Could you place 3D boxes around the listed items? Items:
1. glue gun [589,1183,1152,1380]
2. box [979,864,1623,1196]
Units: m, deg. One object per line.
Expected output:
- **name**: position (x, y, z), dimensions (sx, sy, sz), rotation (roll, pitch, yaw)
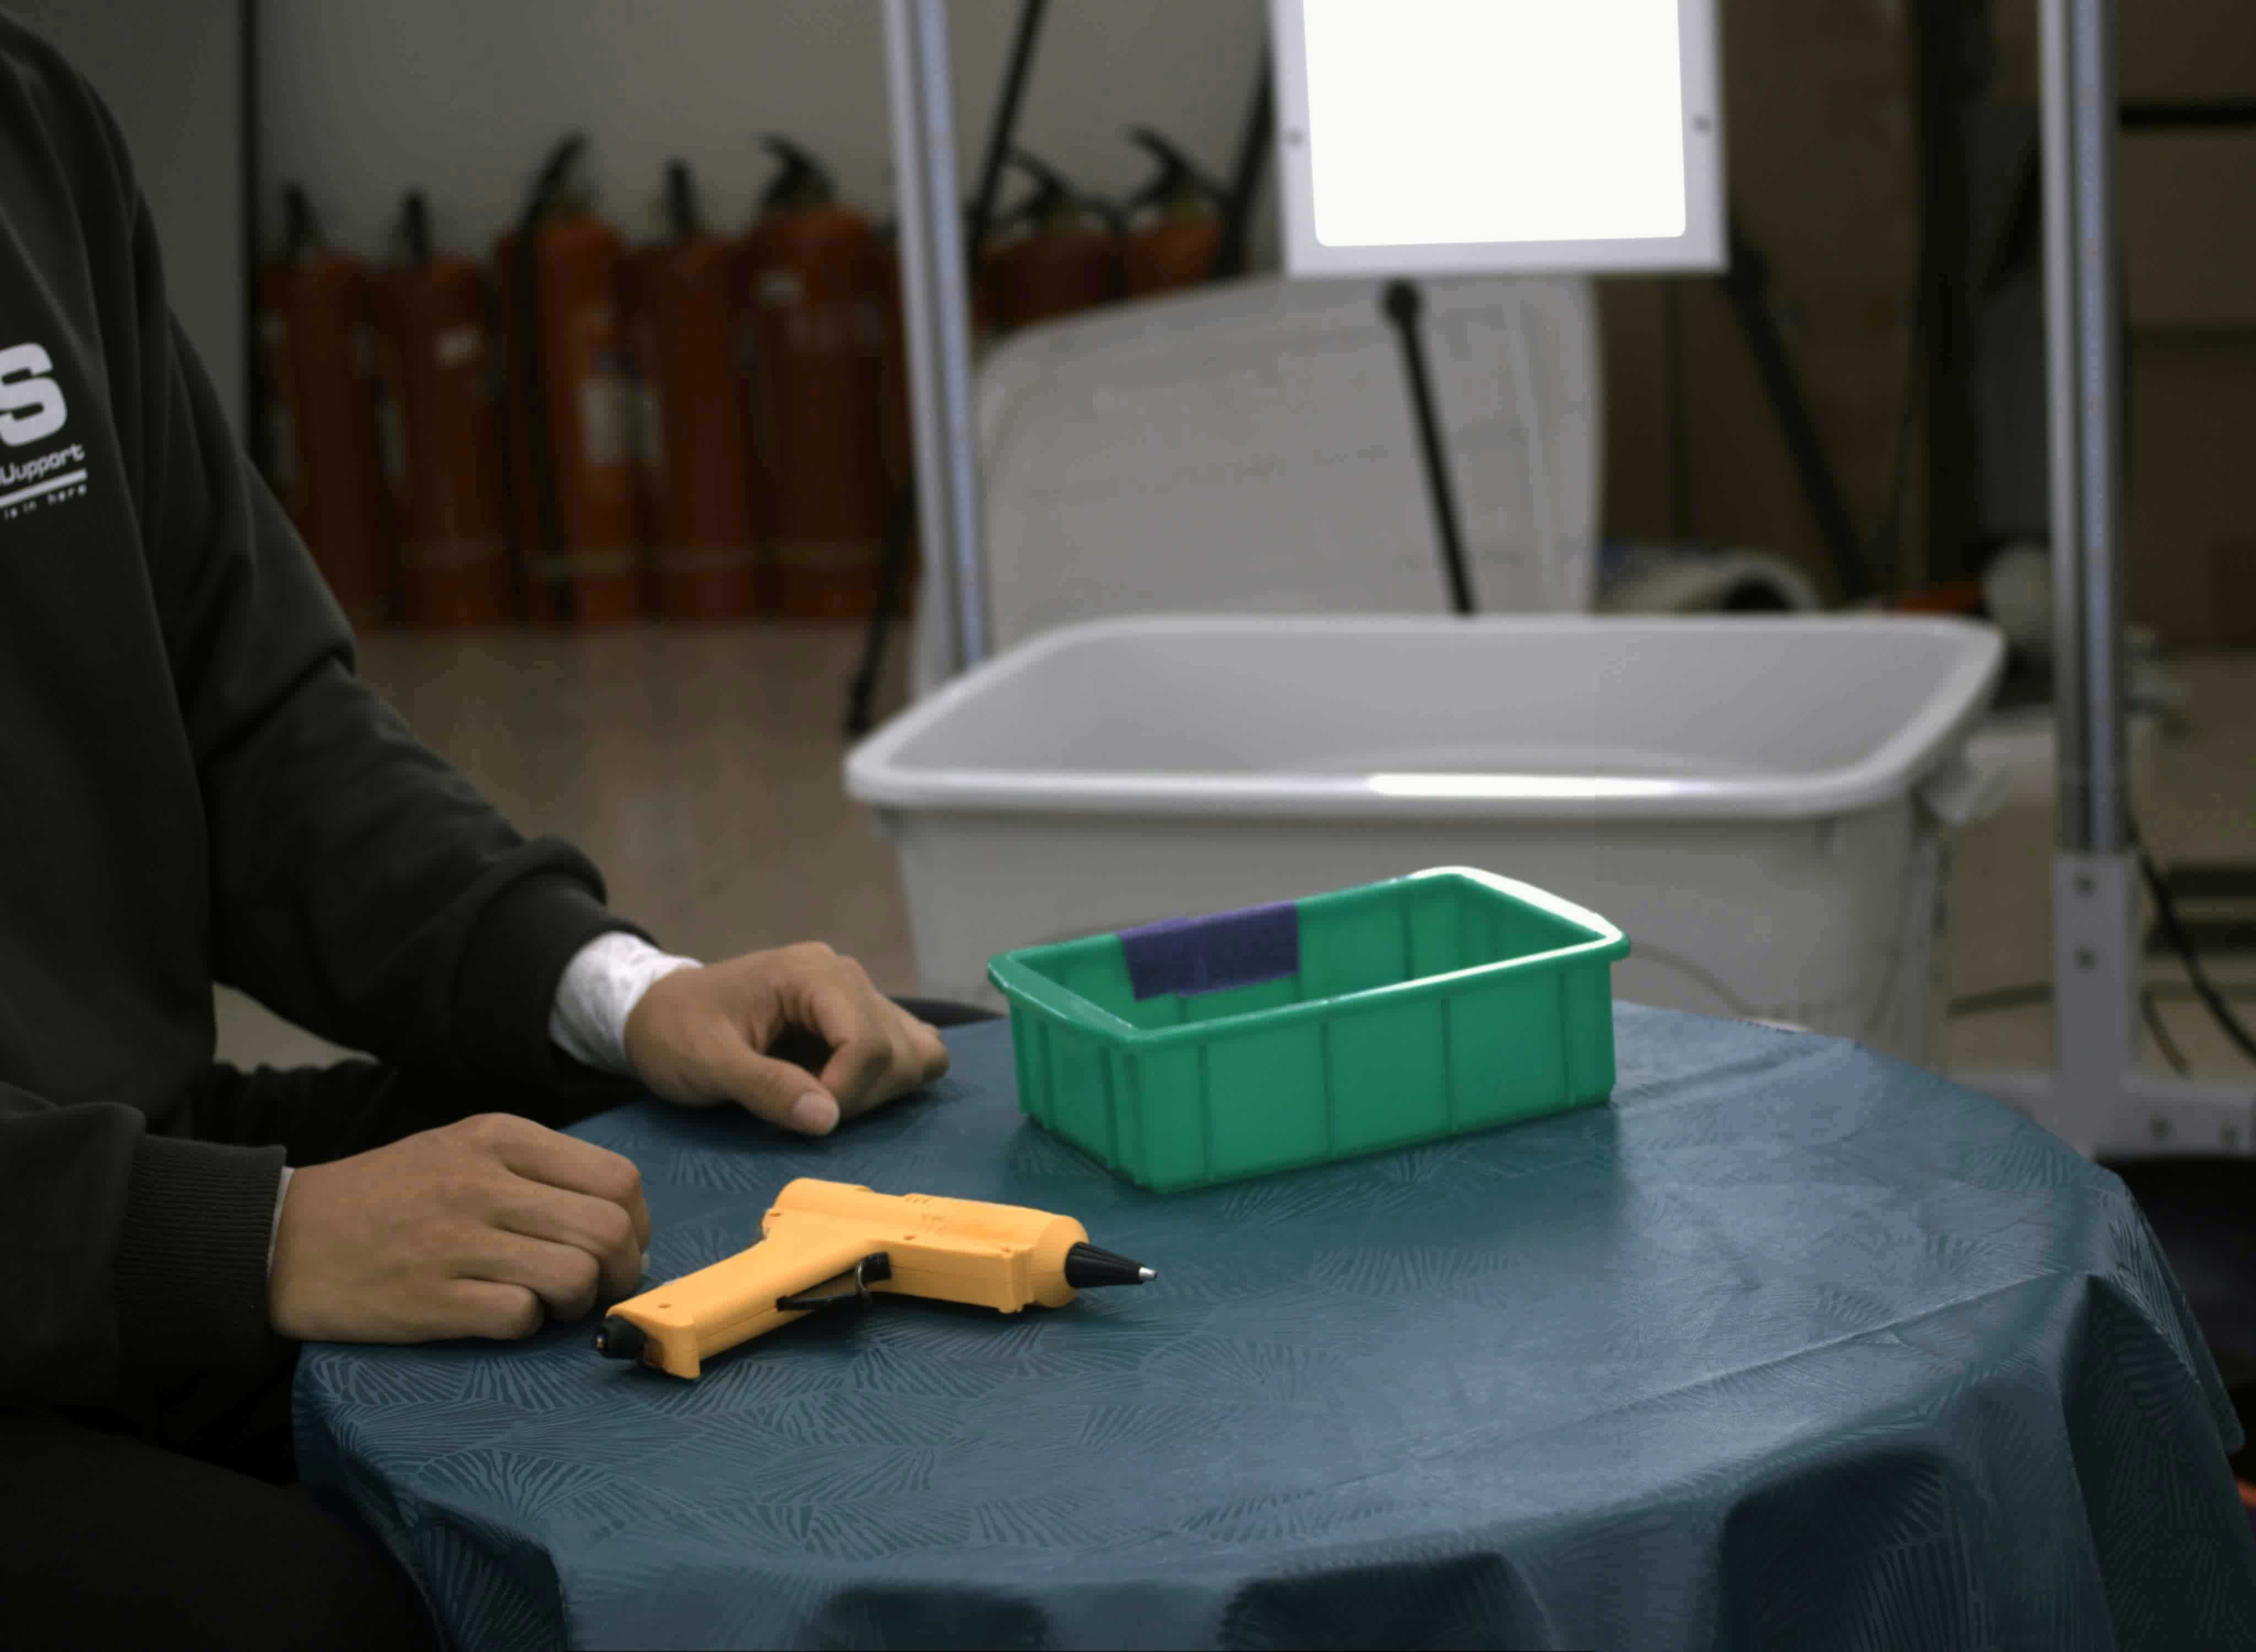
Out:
- **glue gun**: position (-0.076, 0.151, 1.773), dimensions (0.154, 0.031, 0.130), rotation (3, 17, 32)
- **box**: position (0.064, 0.072, 1.965), dimensions (0.206, 0.065, 0.141), rotation (-13, 14, -21)
